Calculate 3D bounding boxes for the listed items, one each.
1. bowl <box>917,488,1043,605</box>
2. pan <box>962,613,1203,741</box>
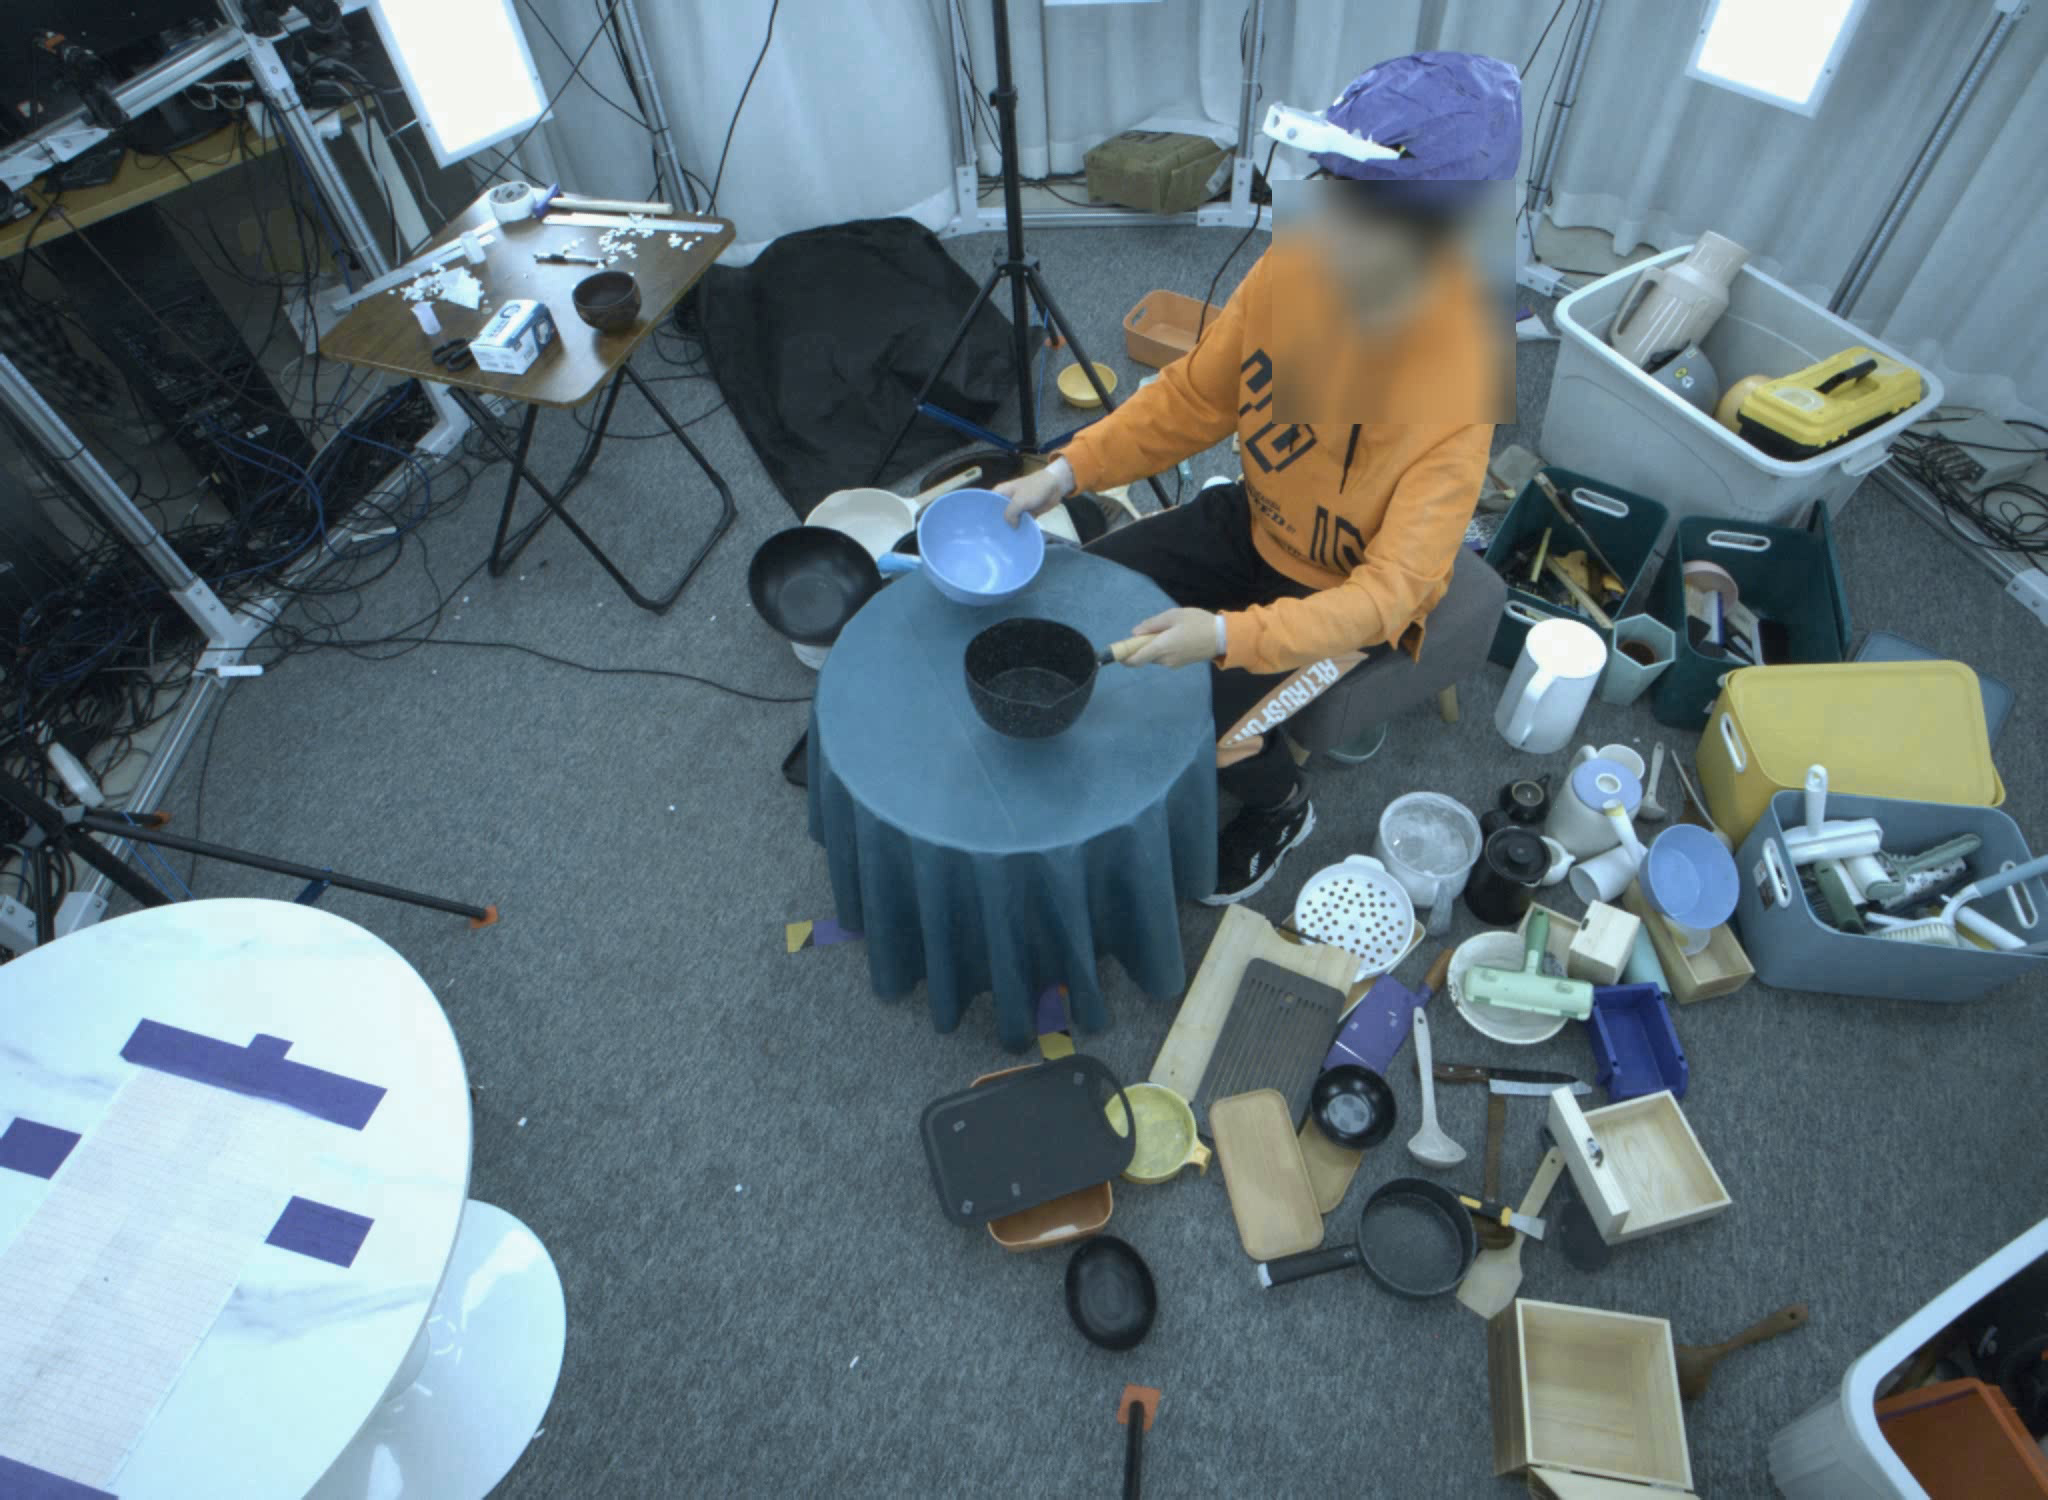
[{"bbox_3d":[-0.077,-0.301,1.898,0.198,0.095,0.195,7,64,-13],"label":"bowl"},{"bbox_3d":[0.084,-0.117,1.721,0.345,0.109,0.203,-12,46,-12],"label":"pan"}]
